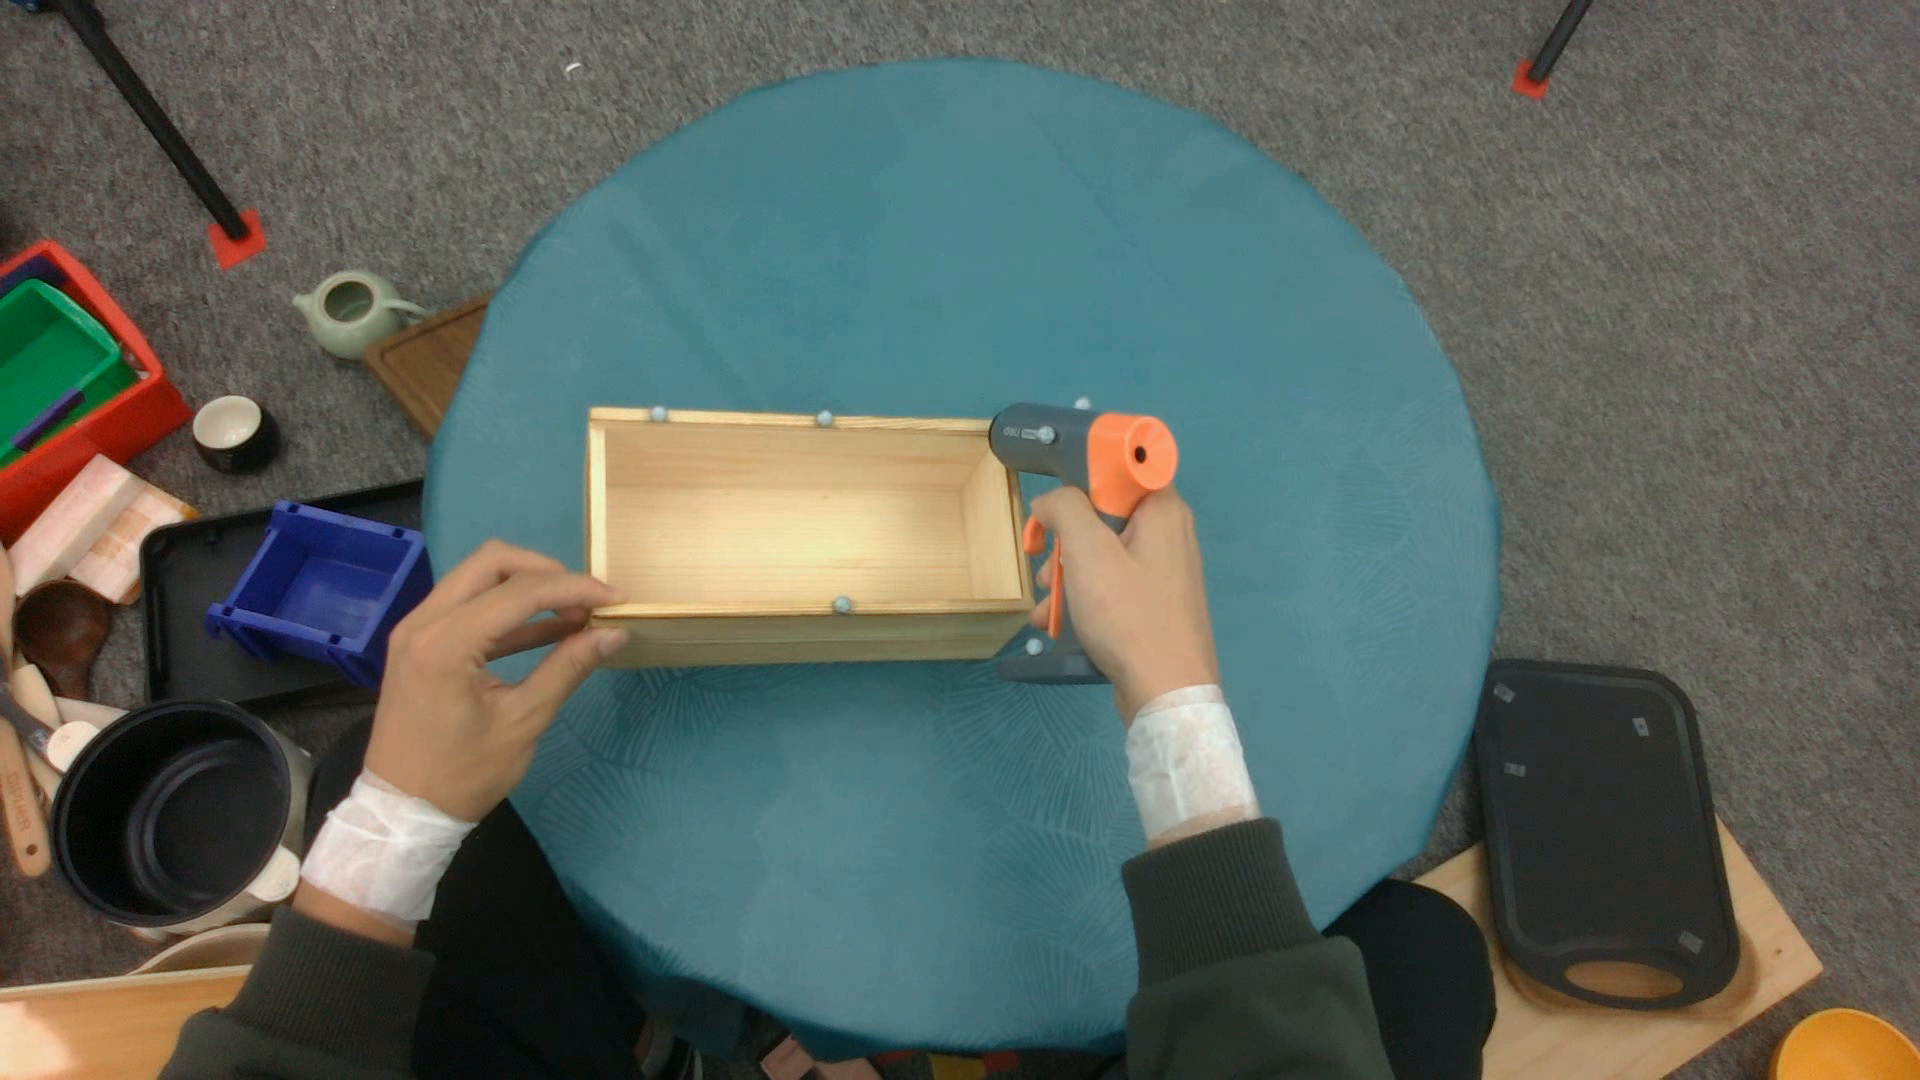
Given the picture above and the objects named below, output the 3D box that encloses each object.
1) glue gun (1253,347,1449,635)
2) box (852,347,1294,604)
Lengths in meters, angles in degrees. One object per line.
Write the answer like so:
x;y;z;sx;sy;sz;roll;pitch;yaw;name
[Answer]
0.170;-0.028;0.635;0.041;0.117;0.140;9;81;-23;glue gun
0.052;-0.030;0.705;0.211;0.080;0.108;1;72;-6;box
